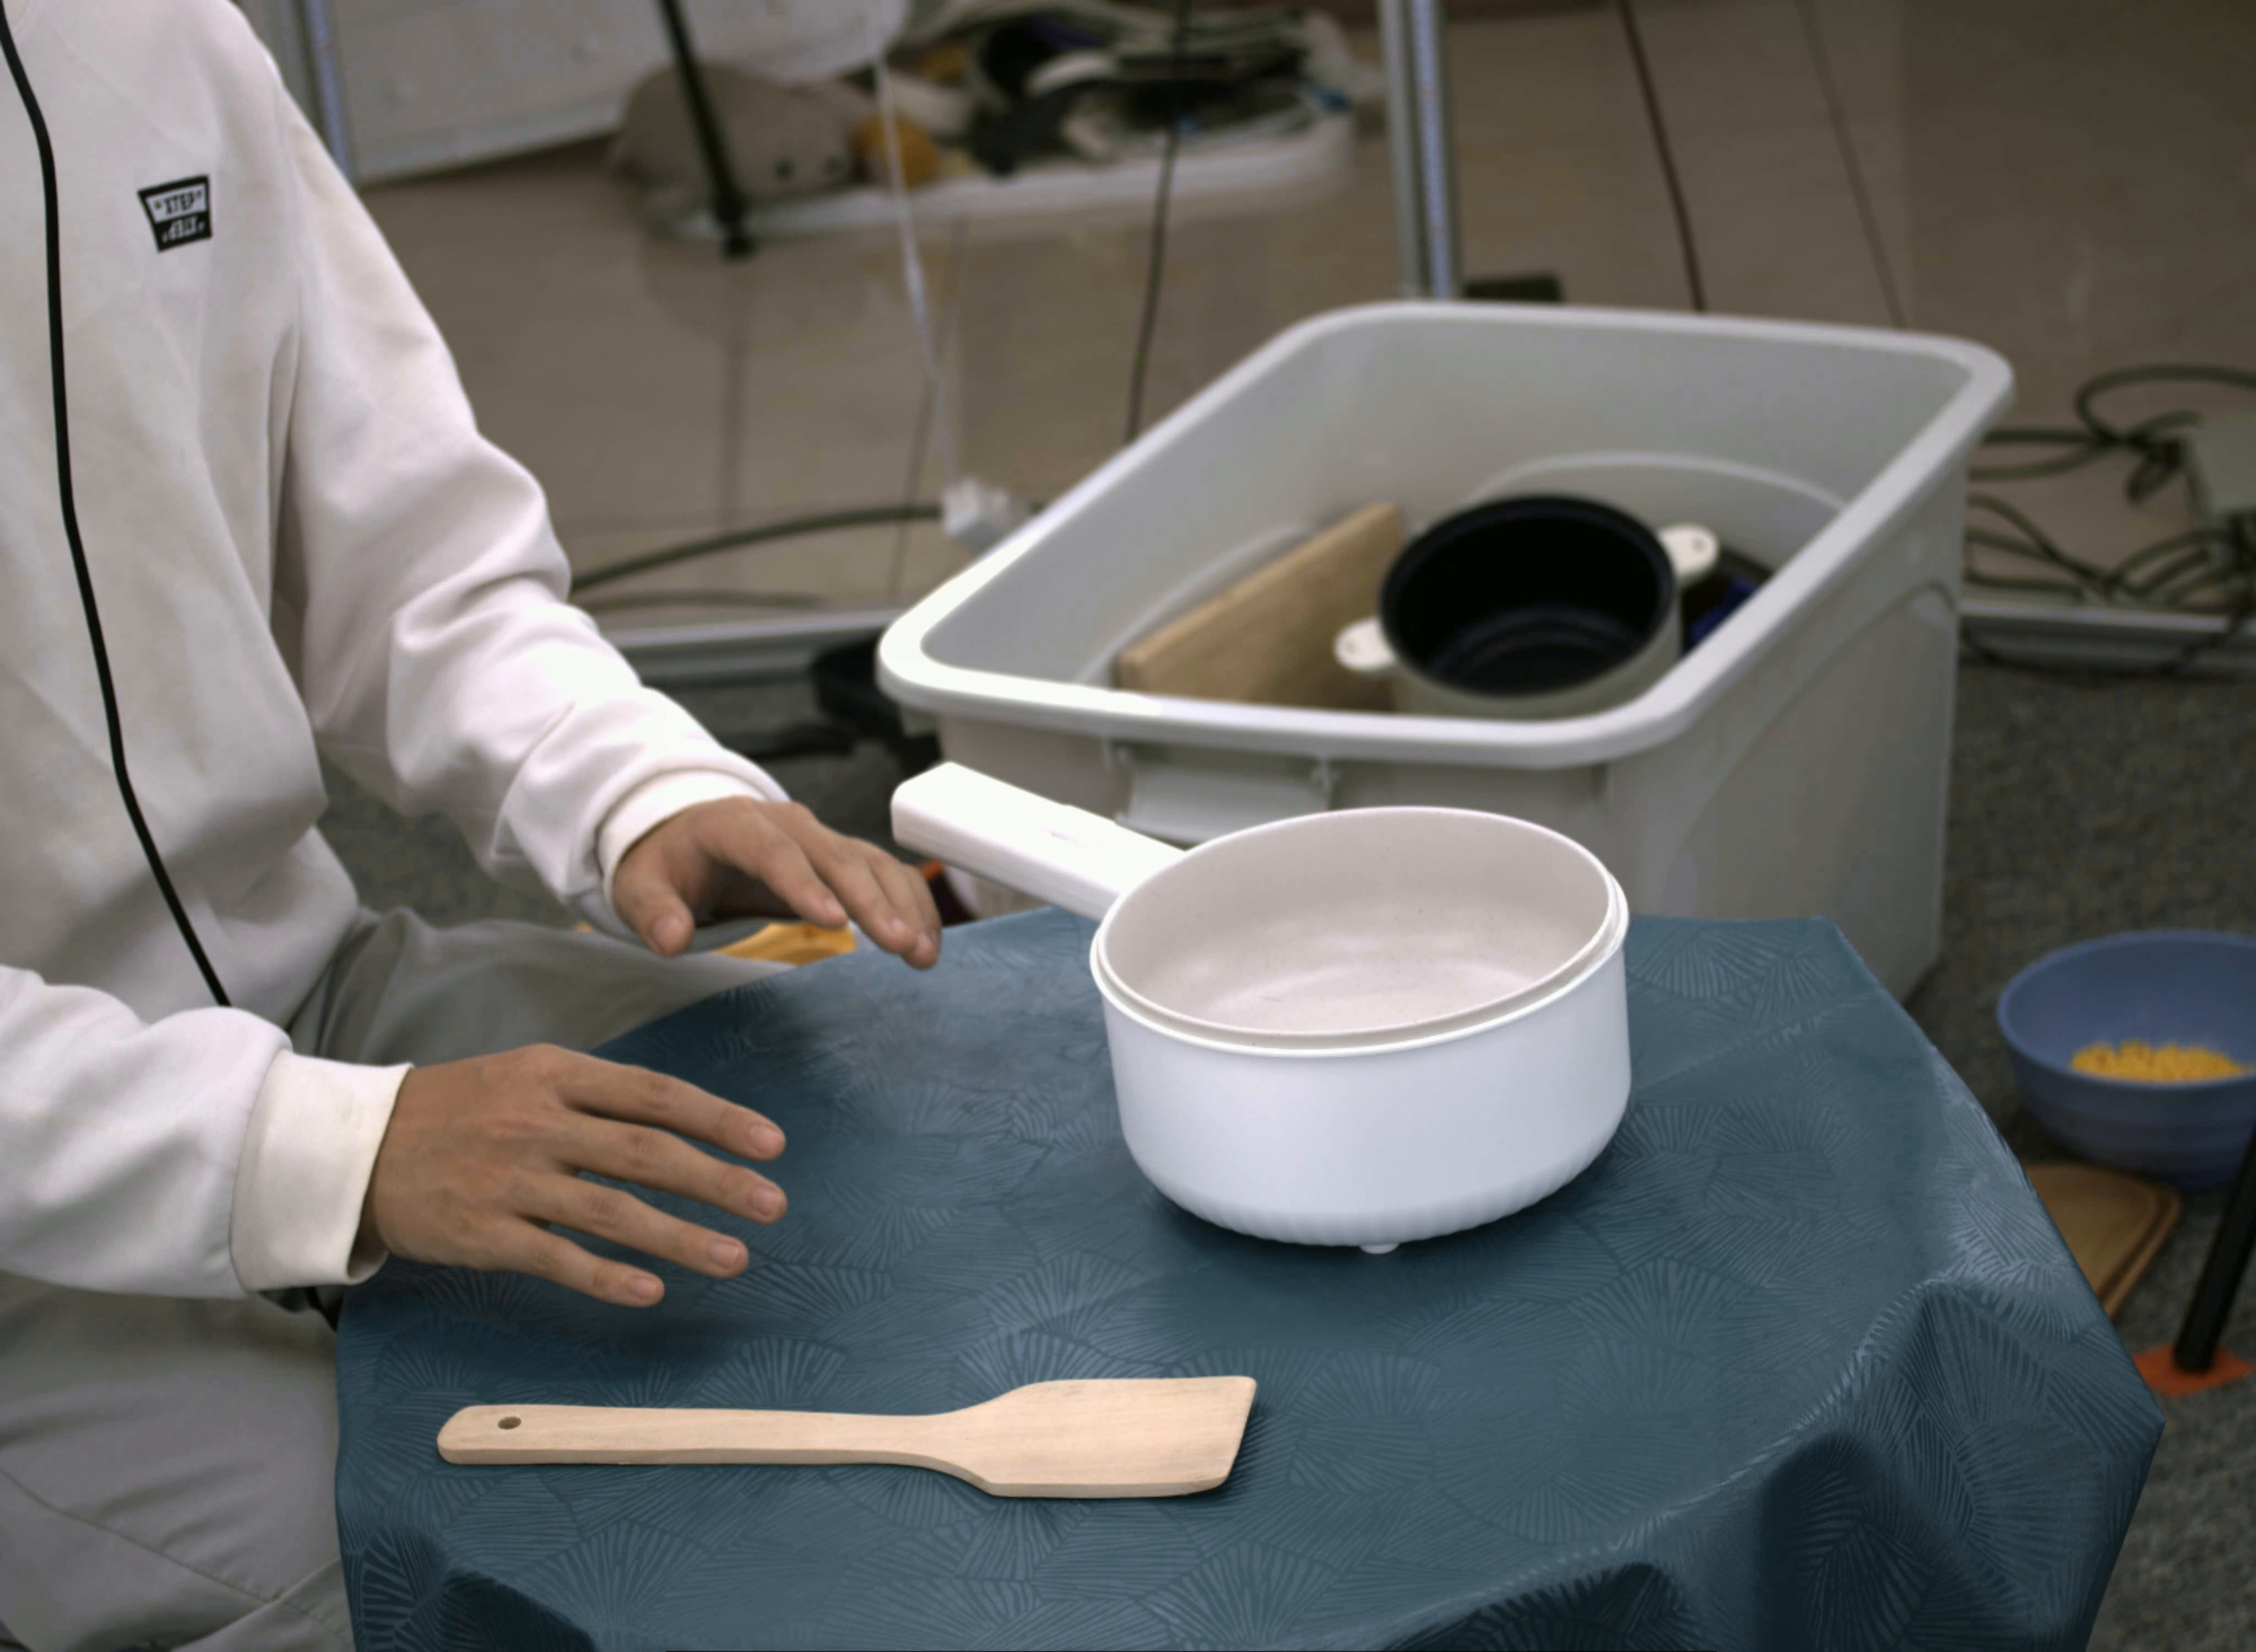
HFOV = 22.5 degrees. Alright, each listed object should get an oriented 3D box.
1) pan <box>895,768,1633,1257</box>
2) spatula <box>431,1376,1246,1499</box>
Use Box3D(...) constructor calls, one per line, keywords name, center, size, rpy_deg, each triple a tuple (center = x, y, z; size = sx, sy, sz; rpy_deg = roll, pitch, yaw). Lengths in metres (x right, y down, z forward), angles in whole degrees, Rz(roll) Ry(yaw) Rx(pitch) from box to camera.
Box3D(name="pan", center=(0.040, 0.063, 2.186), size=(0.199, 0.104, 0.352), rpy_deg=(-27, 30, -35))
Box3D(name="spatula", center=(-0.106, 0.214, 1.998), size=(0.292, 0.011, 0.071), rpy_deg=(-1, 27, 12))
